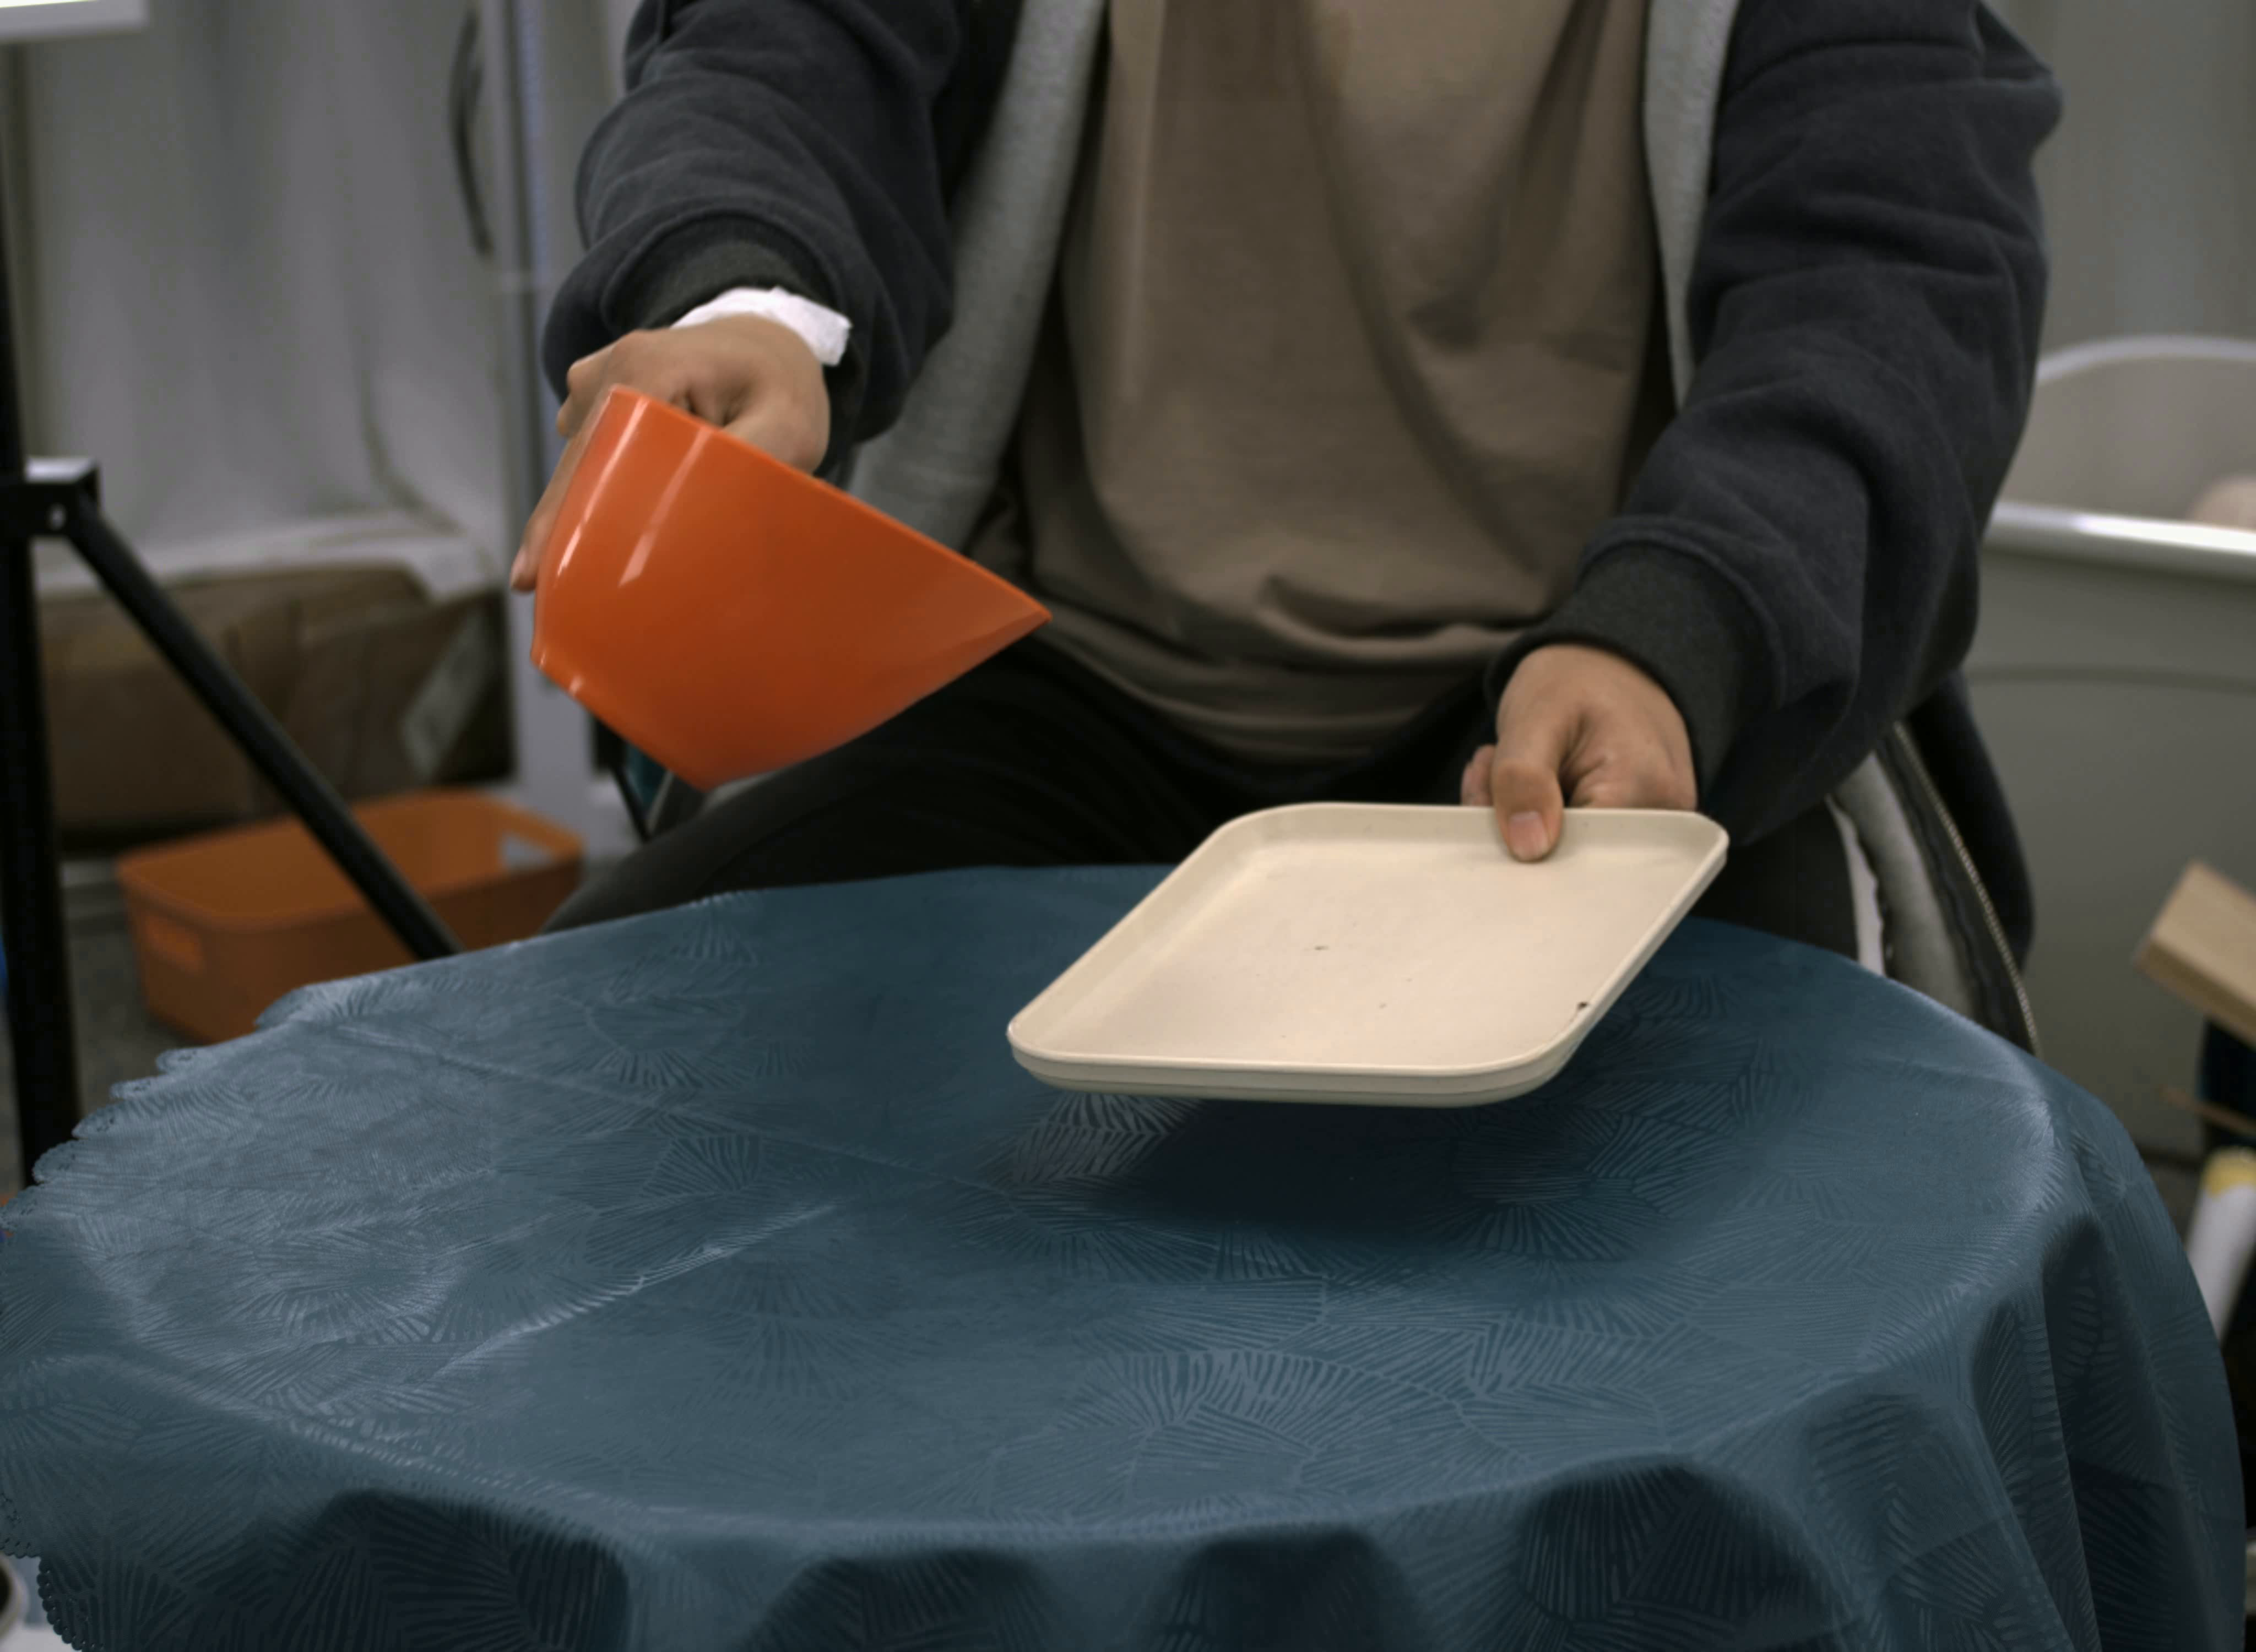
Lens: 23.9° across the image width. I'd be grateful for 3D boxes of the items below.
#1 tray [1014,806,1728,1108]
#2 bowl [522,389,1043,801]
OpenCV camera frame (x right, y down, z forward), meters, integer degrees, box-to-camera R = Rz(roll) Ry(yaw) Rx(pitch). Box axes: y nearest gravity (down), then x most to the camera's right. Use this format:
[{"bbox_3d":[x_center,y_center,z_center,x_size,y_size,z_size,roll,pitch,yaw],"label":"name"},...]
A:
[{"bbox_3d":[0.078,0.038,1.603,0.173,0.017,0.237,1,18,22],"label":"tray"},{"bbox_3d":[-0.115,-0.061,1.592,0.147,0.105,0.148,37,1,-2],"label":"bowl"}]
